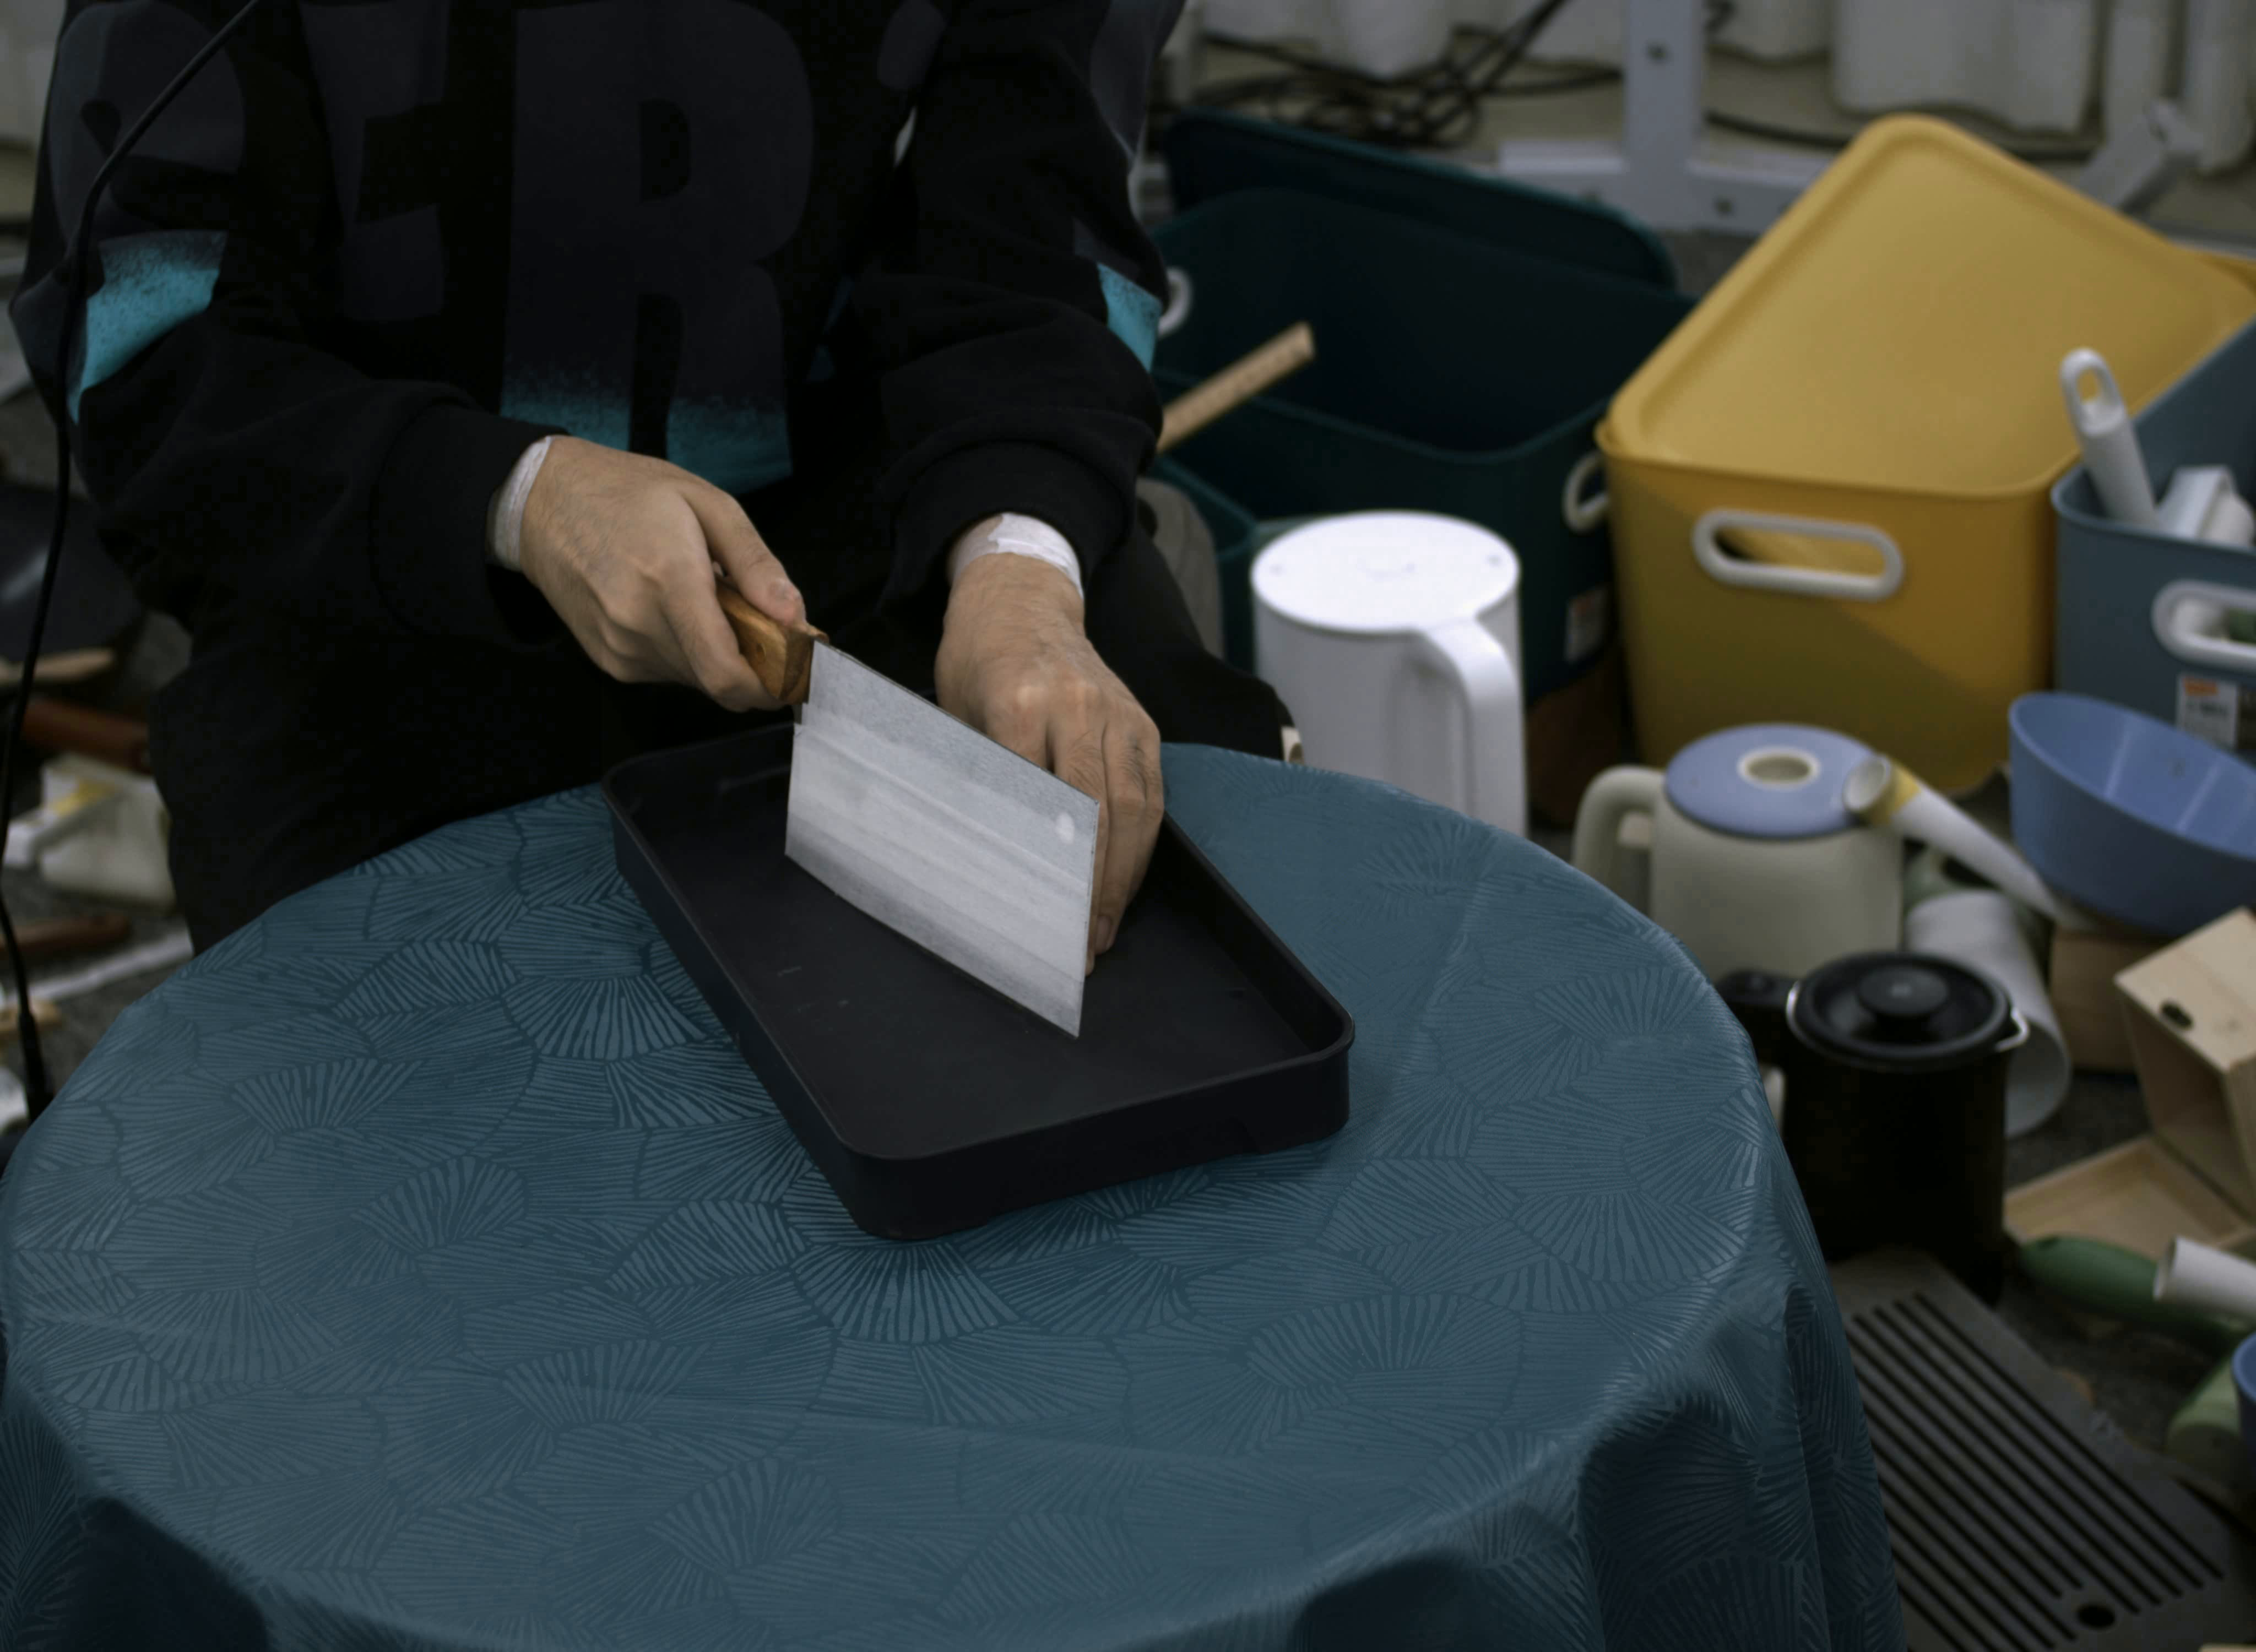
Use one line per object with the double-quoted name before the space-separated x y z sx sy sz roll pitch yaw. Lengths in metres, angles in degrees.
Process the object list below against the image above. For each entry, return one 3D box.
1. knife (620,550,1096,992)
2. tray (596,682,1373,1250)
"knife" -0.100 -0.019 2.029 0.021 0.092 0.306 -9 24 -35
"tray" -0.056 0.043 1.980 0.185 0.036 0.320 -14 29 -19
